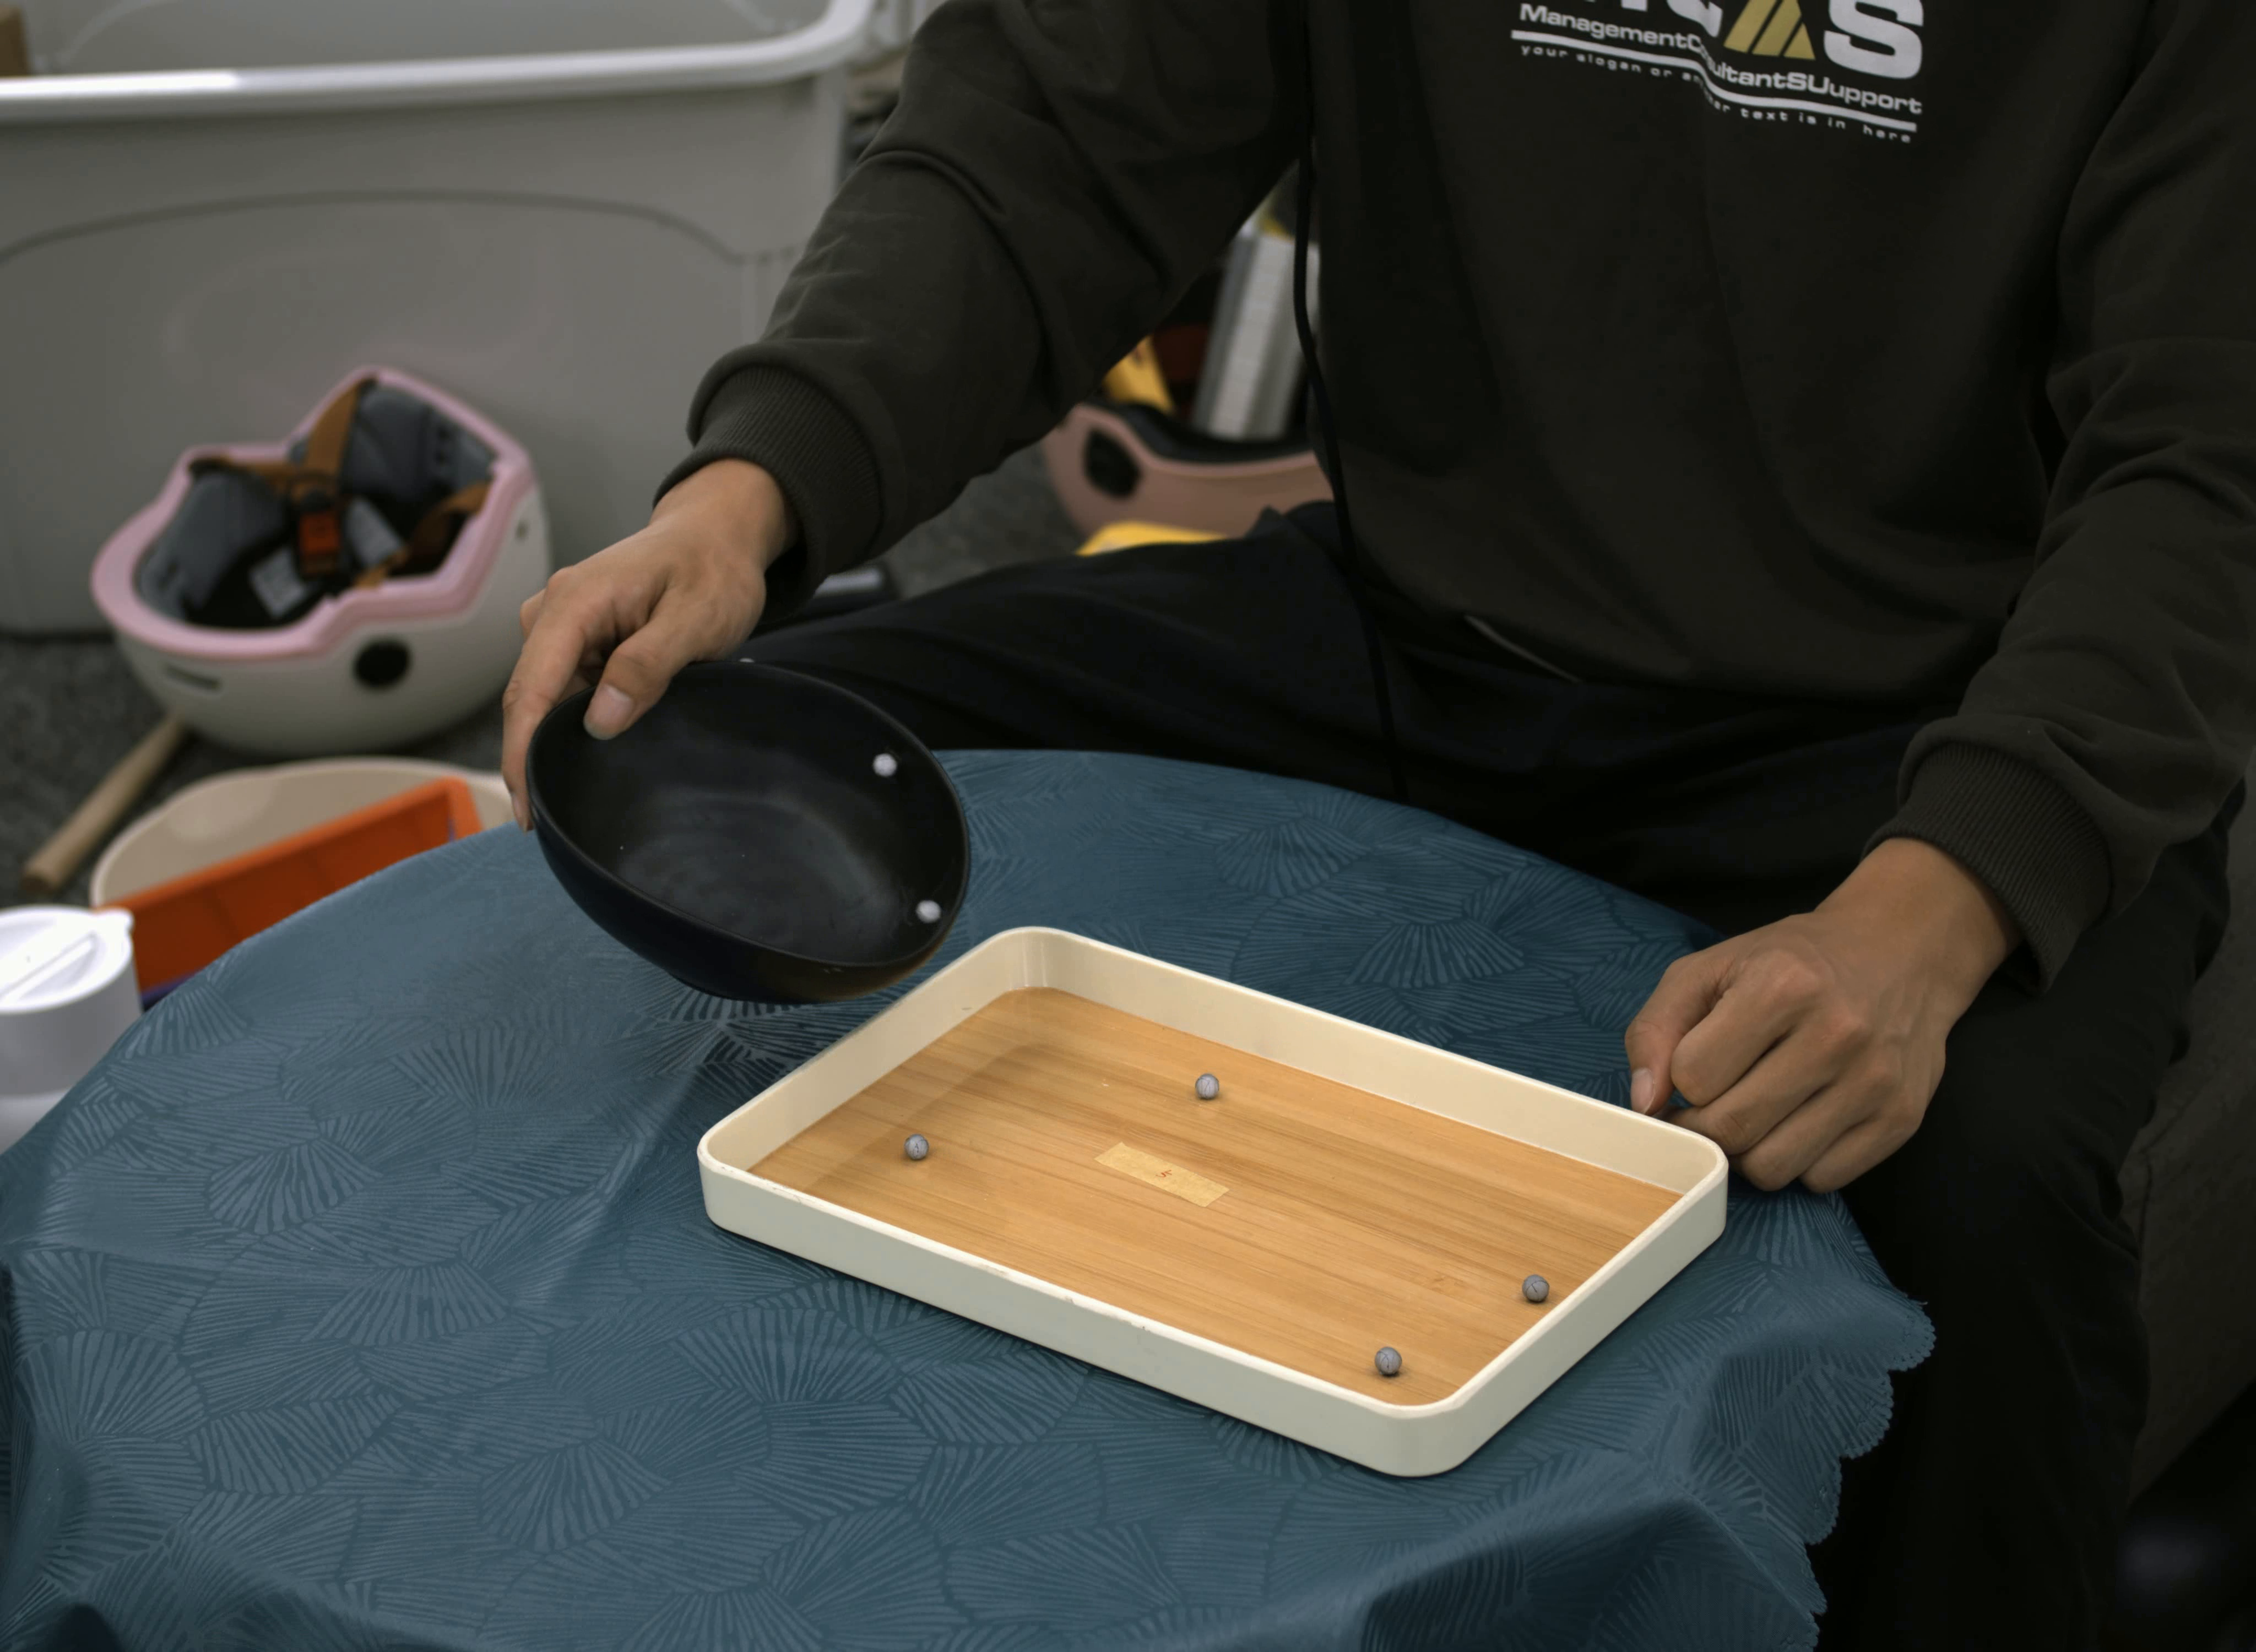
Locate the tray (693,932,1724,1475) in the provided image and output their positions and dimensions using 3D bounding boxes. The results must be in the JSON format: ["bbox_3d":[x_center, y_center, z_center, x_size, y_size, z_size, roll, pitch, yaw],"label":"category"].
[{"bbox_3d":[0.025,0.118,1.841,0.299,0.027,0.194,16,32,33],"label":"tray"}]

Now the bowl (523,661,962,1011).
[{"bbox_3d":[-0.132,0.014,1.932,0.170,0.065,0.139,33,45,28],"label":"bowl"}]
